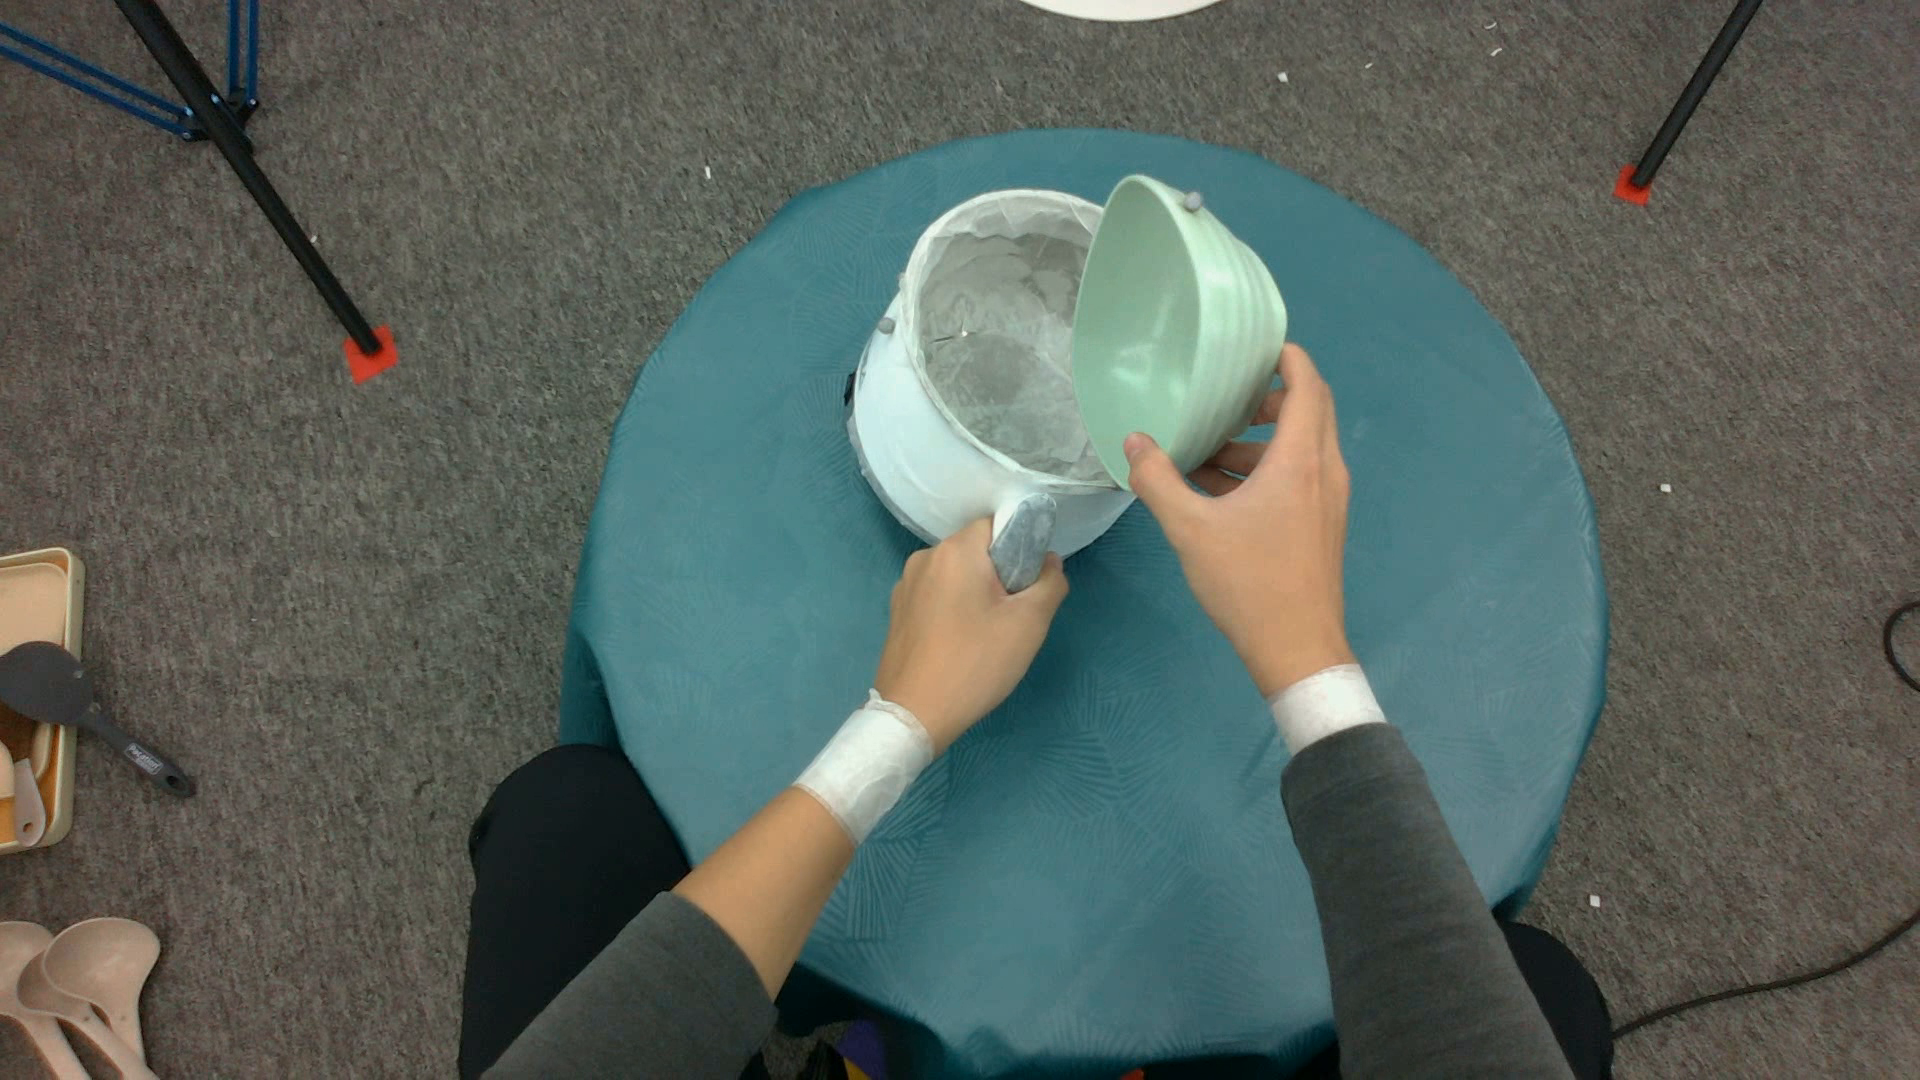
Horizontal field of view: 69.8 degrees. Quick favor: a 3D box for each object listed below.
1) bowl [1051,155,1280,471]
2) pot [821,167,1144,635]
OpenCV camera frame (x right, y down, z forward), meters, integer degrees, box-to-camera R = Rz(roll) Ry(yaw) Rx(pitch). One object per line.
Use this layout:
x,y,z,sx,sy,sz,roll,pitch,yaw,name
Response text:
0.103,-0.107,0.669,0.059,0.150,0.152,3,64,-23,bowl
0.020,-0.069,0.750,0.179,0.136,0.234,14,64,-14,pot
